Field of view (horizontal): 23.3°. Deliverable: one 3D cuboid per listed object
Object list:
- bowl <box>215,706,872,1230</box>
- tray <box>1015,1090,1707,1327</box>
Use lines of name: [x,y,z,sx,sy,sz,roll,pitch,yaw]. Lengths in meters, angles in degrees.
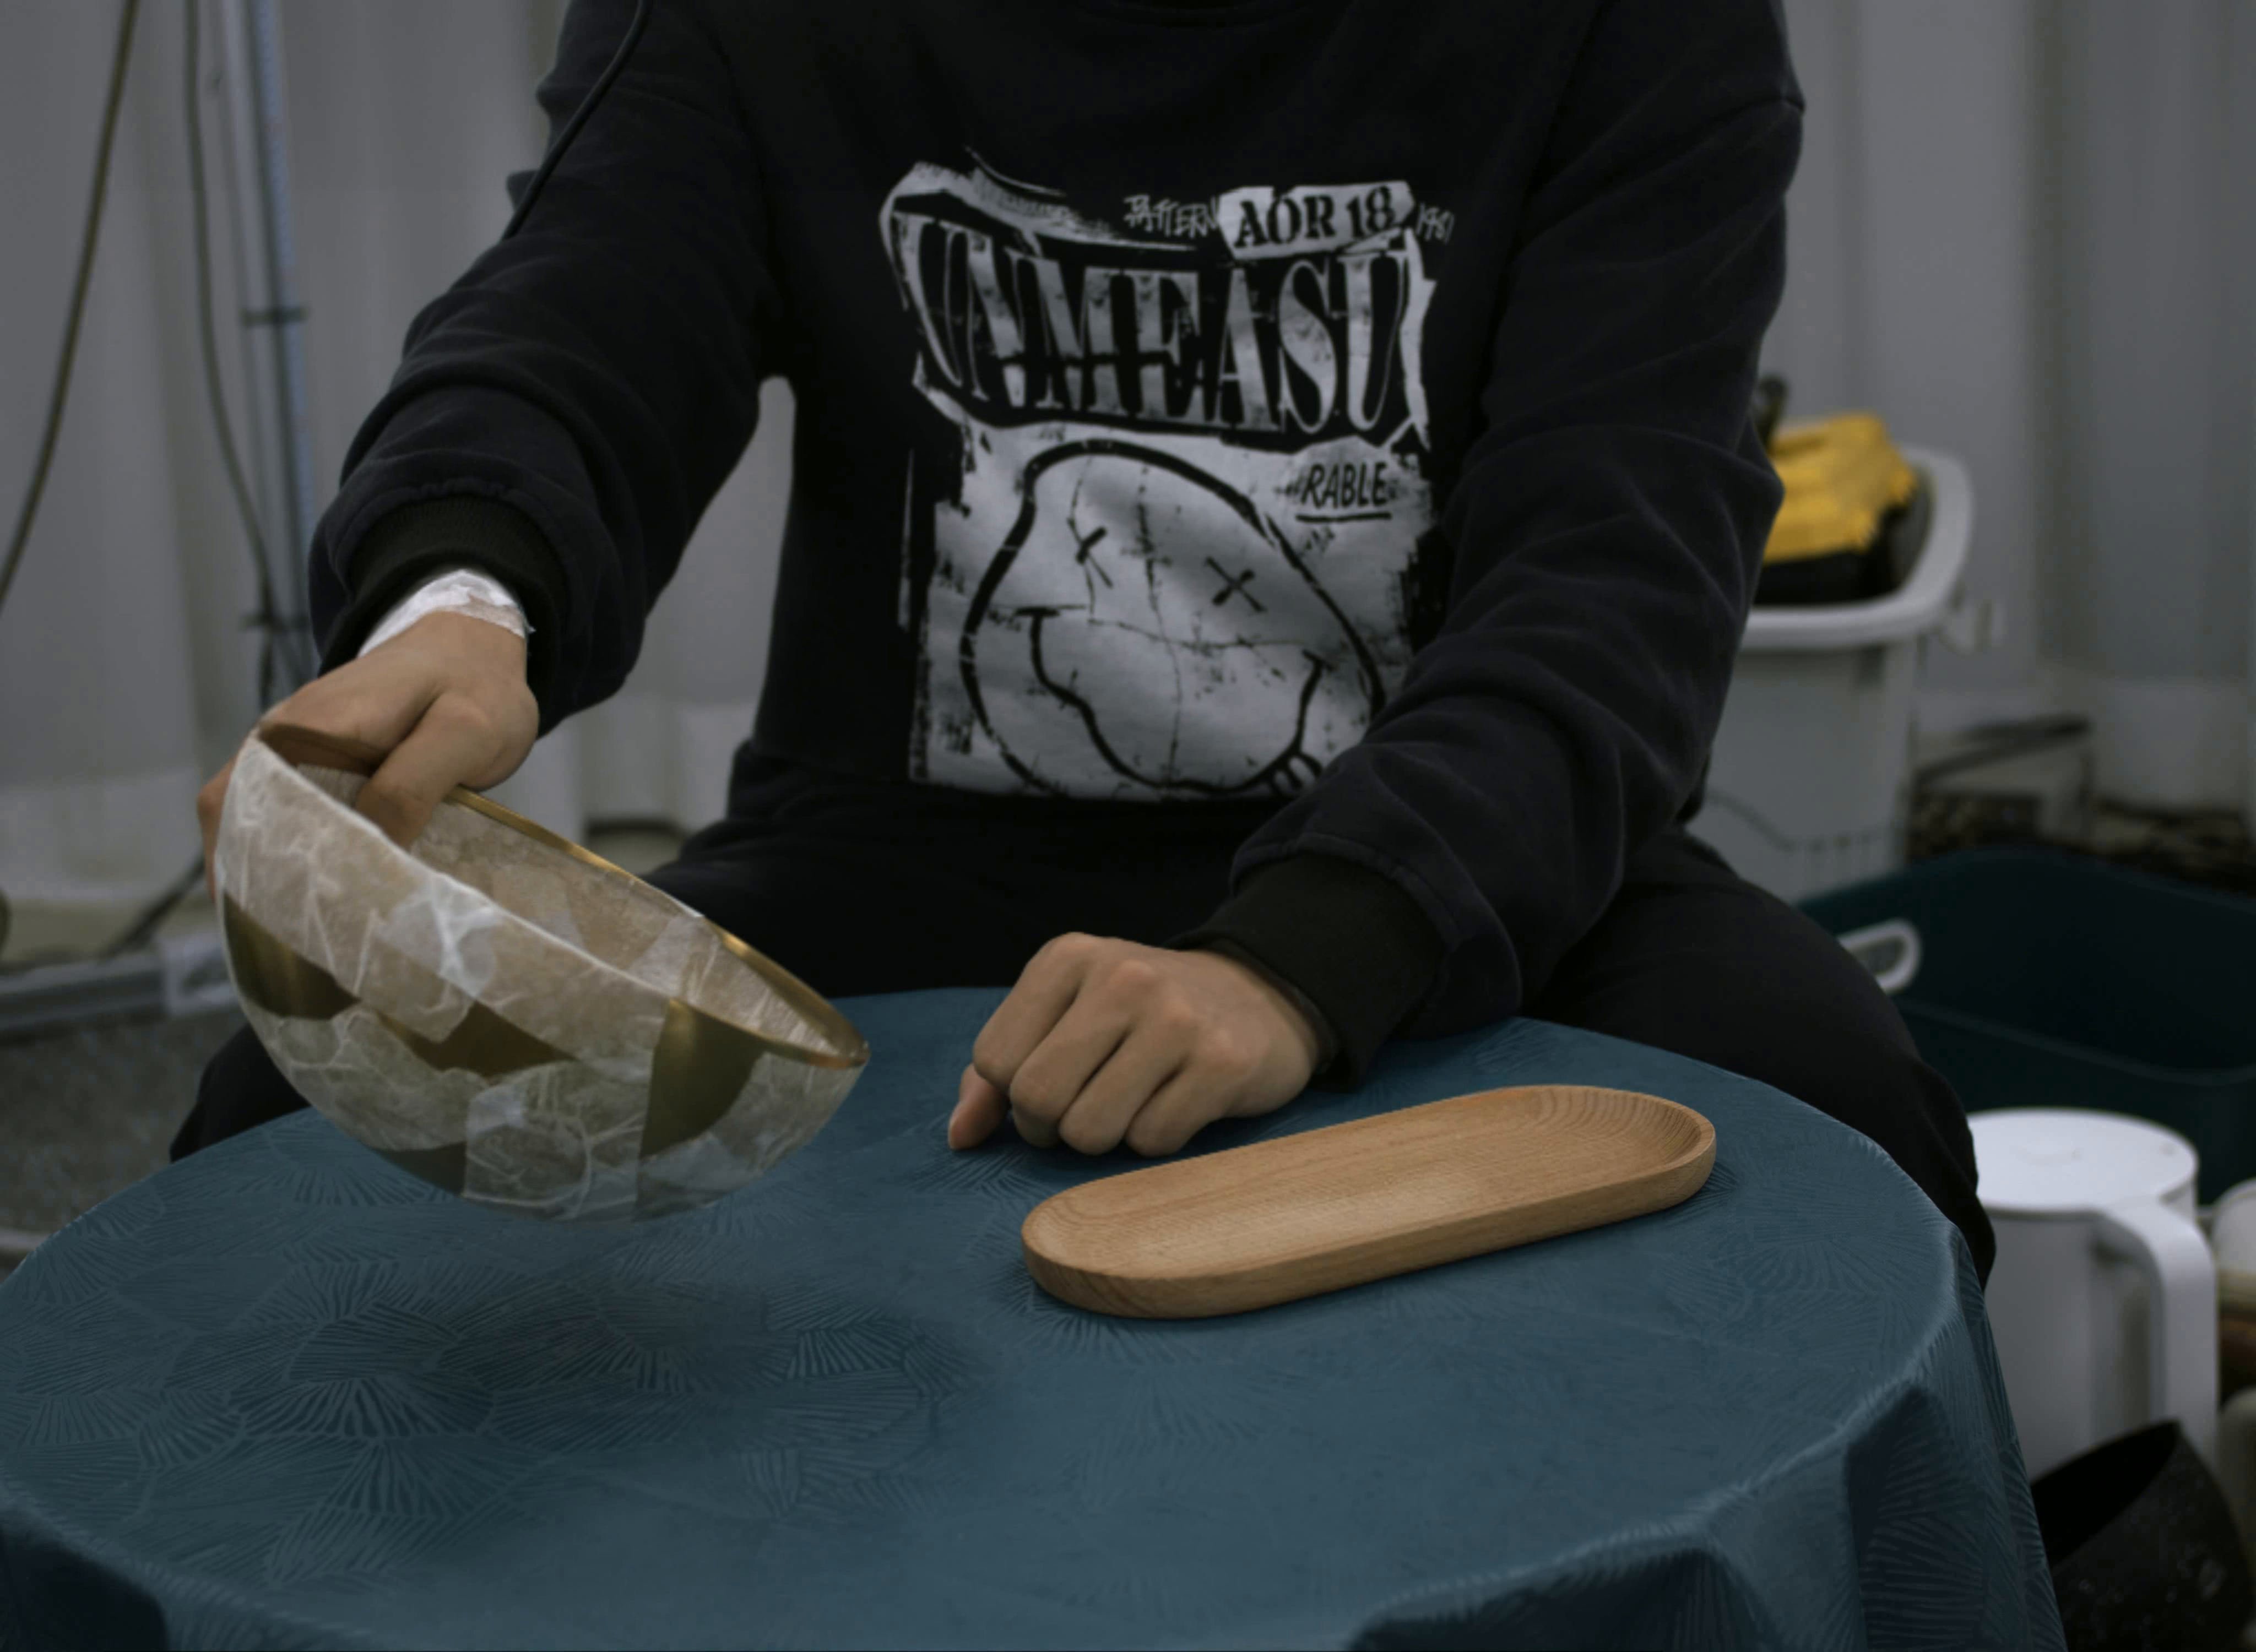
bowl: [-0.179,0.057,1.580,0.214,0.094,0.215,29,3,-2]
tray: [0.073,0.116,1.668,0.230,0.020,0.102,-13,16,-28]
